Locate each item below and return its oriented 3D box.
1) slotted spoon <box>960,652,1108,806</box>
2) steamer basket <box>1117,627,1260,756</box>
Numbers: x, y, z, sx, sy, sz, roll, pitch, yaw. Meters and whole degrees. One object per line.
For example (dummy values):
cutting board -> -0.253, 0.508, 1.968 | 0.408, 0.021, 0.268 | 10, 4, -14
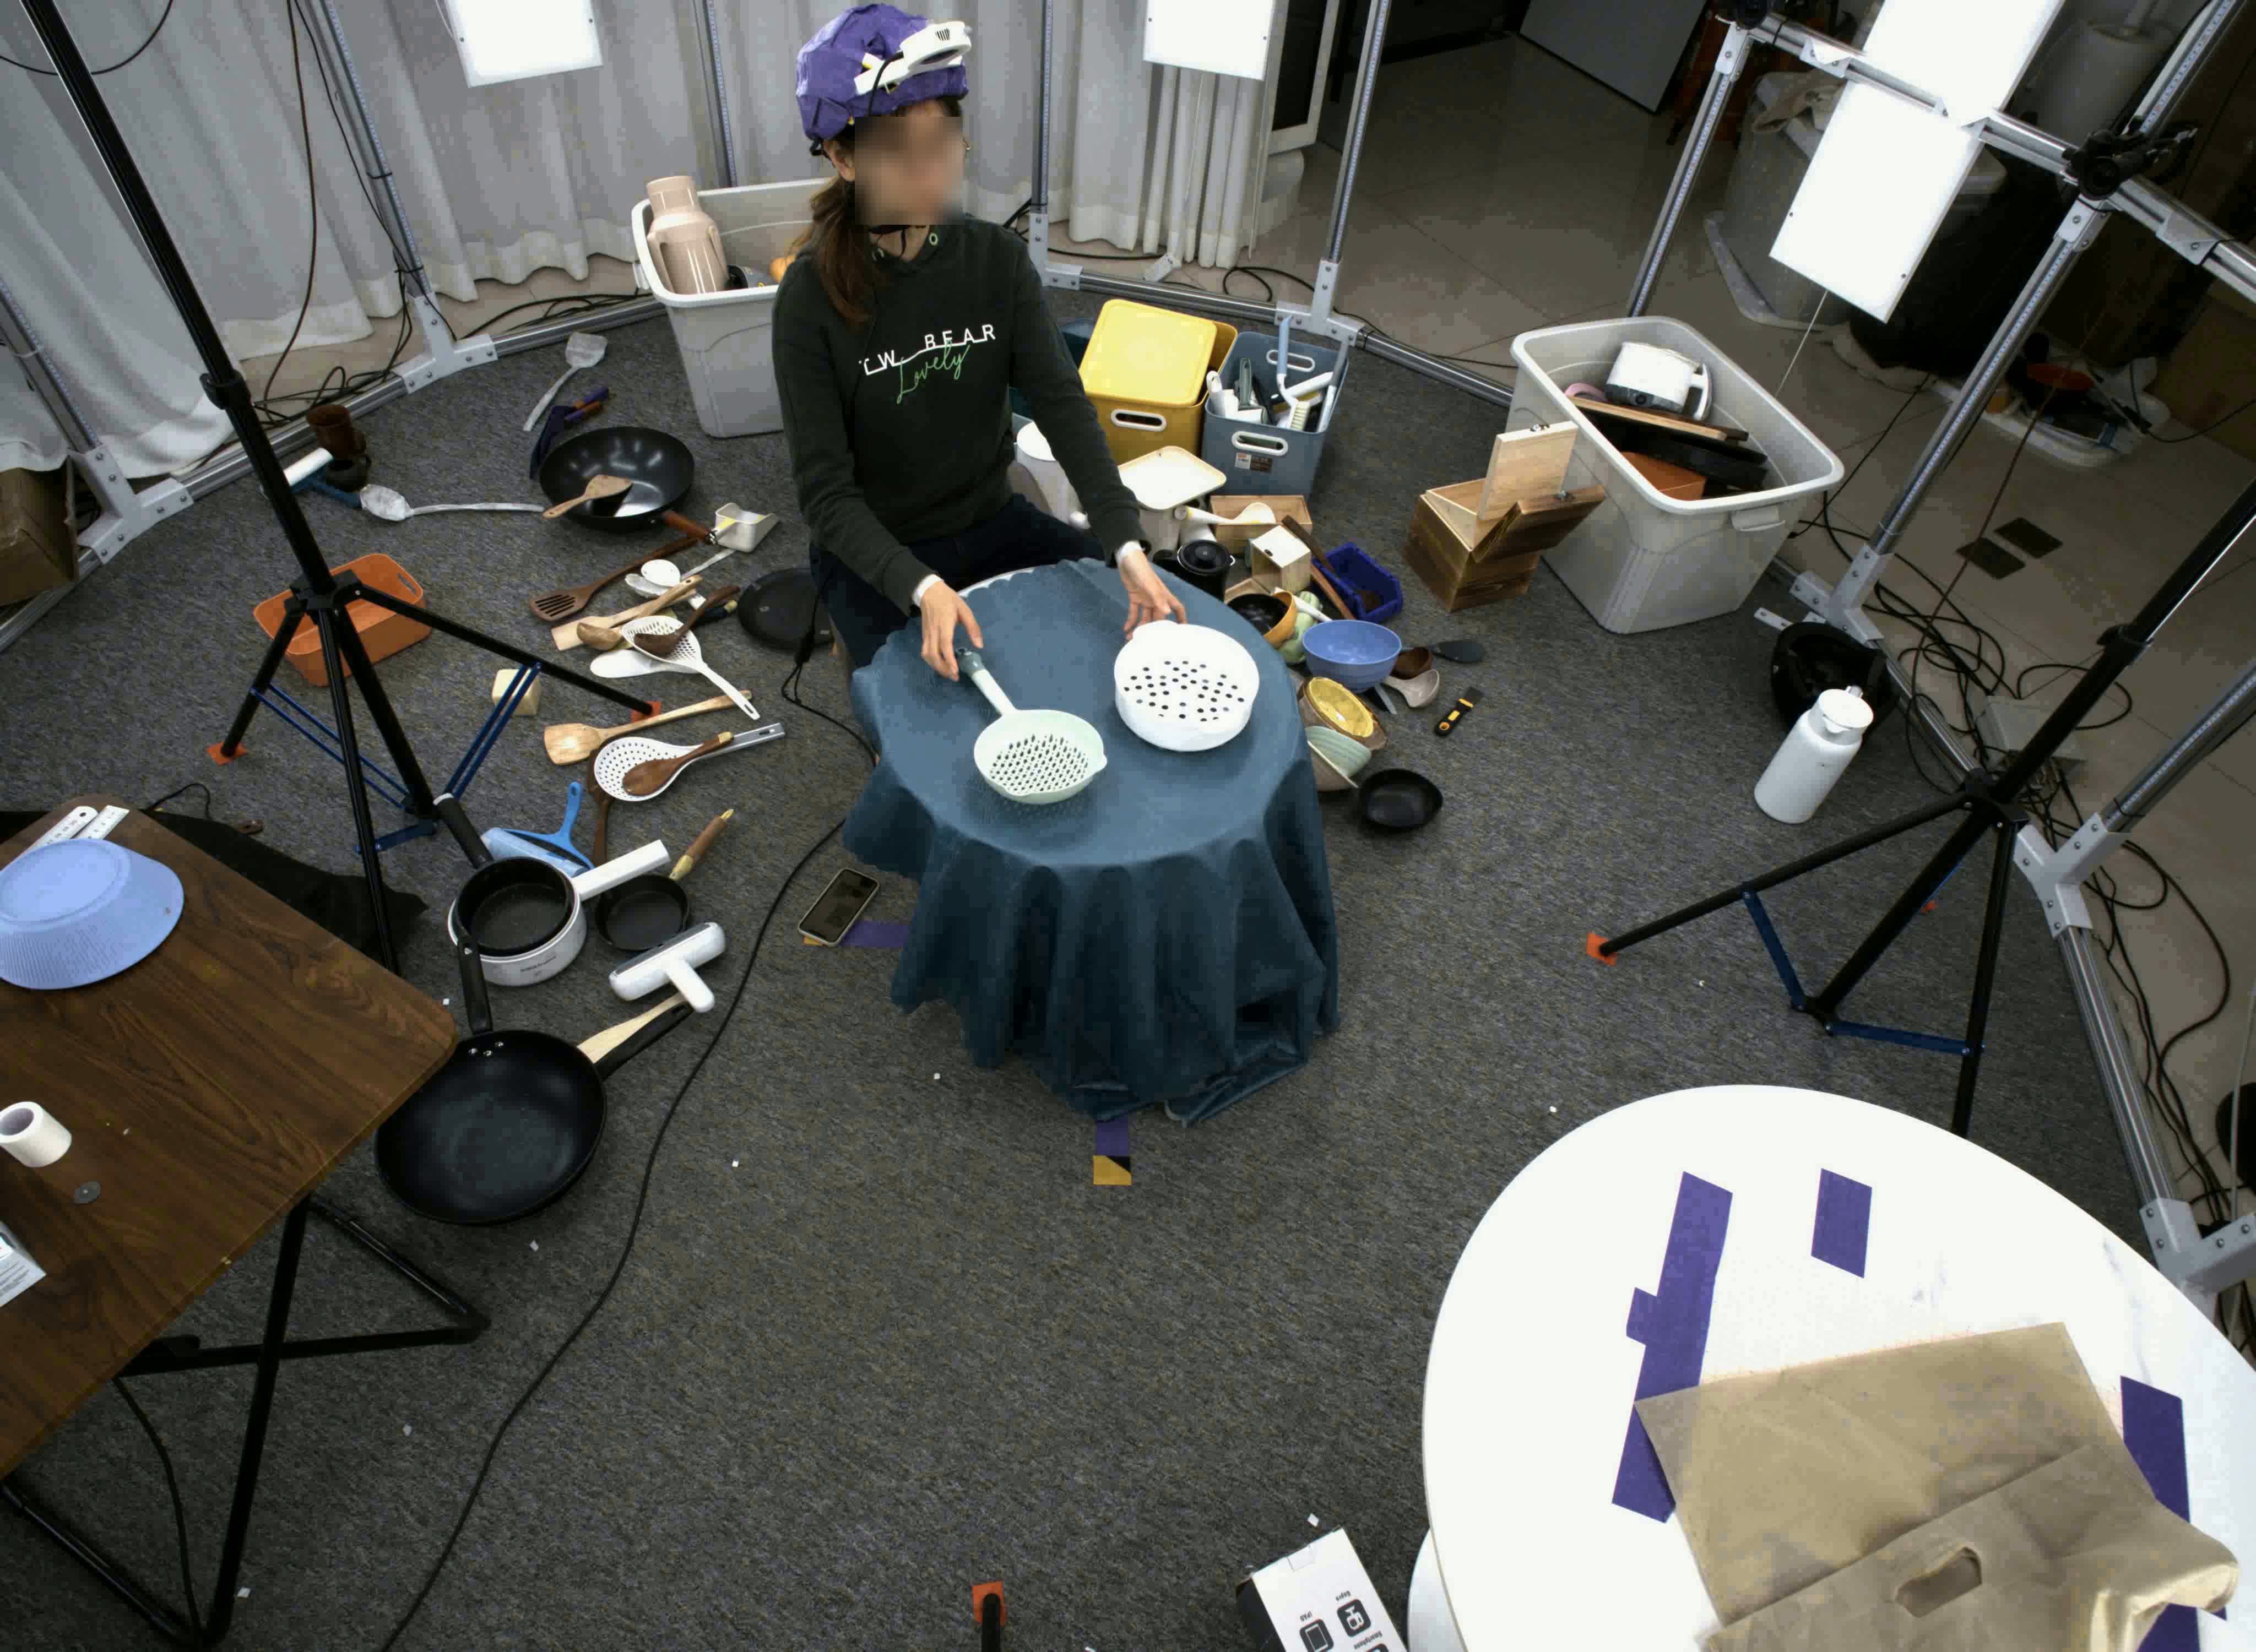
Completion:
slotted spoon -> -0.160, -0.149, 1.761 | 0.169, 0.073, 0.367 | -18, 52, -19
steamer basket -> 0.083, -0.187, 1.812 | 0.202, 0.067, 0.236 | -18, 52, -20
